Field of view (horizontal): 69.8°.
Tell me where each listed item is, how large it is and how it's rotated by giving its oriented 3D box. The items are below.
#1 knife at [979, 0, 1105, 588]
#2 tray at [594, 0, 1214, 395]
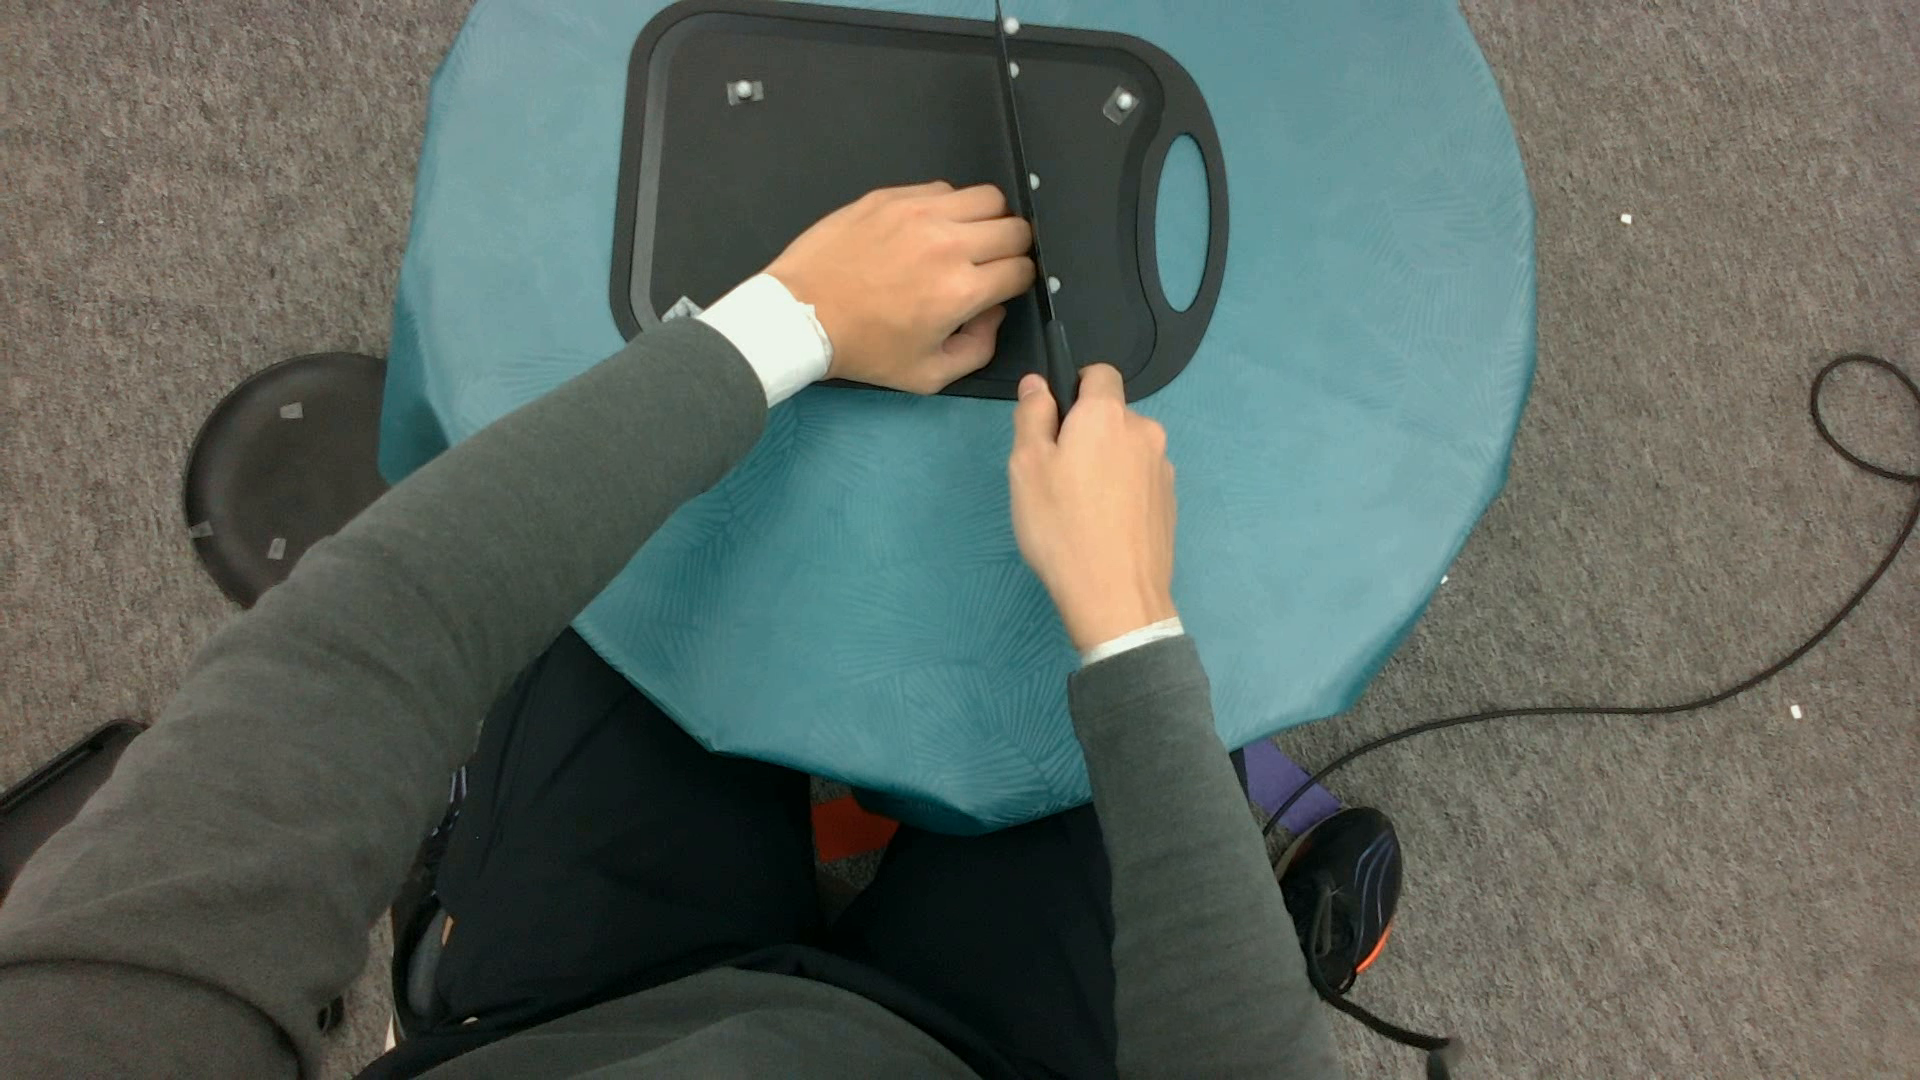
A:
[{"bbox_3d":[0.035,-0.125,0.679,0.021,0.081,0.303,-9,75,-1],"label":"knife"},{"bbox_3d":[-0.024,-0.187,0.731,0.325,0.010,0.211,4,81,-5],"label":"tray"}]
